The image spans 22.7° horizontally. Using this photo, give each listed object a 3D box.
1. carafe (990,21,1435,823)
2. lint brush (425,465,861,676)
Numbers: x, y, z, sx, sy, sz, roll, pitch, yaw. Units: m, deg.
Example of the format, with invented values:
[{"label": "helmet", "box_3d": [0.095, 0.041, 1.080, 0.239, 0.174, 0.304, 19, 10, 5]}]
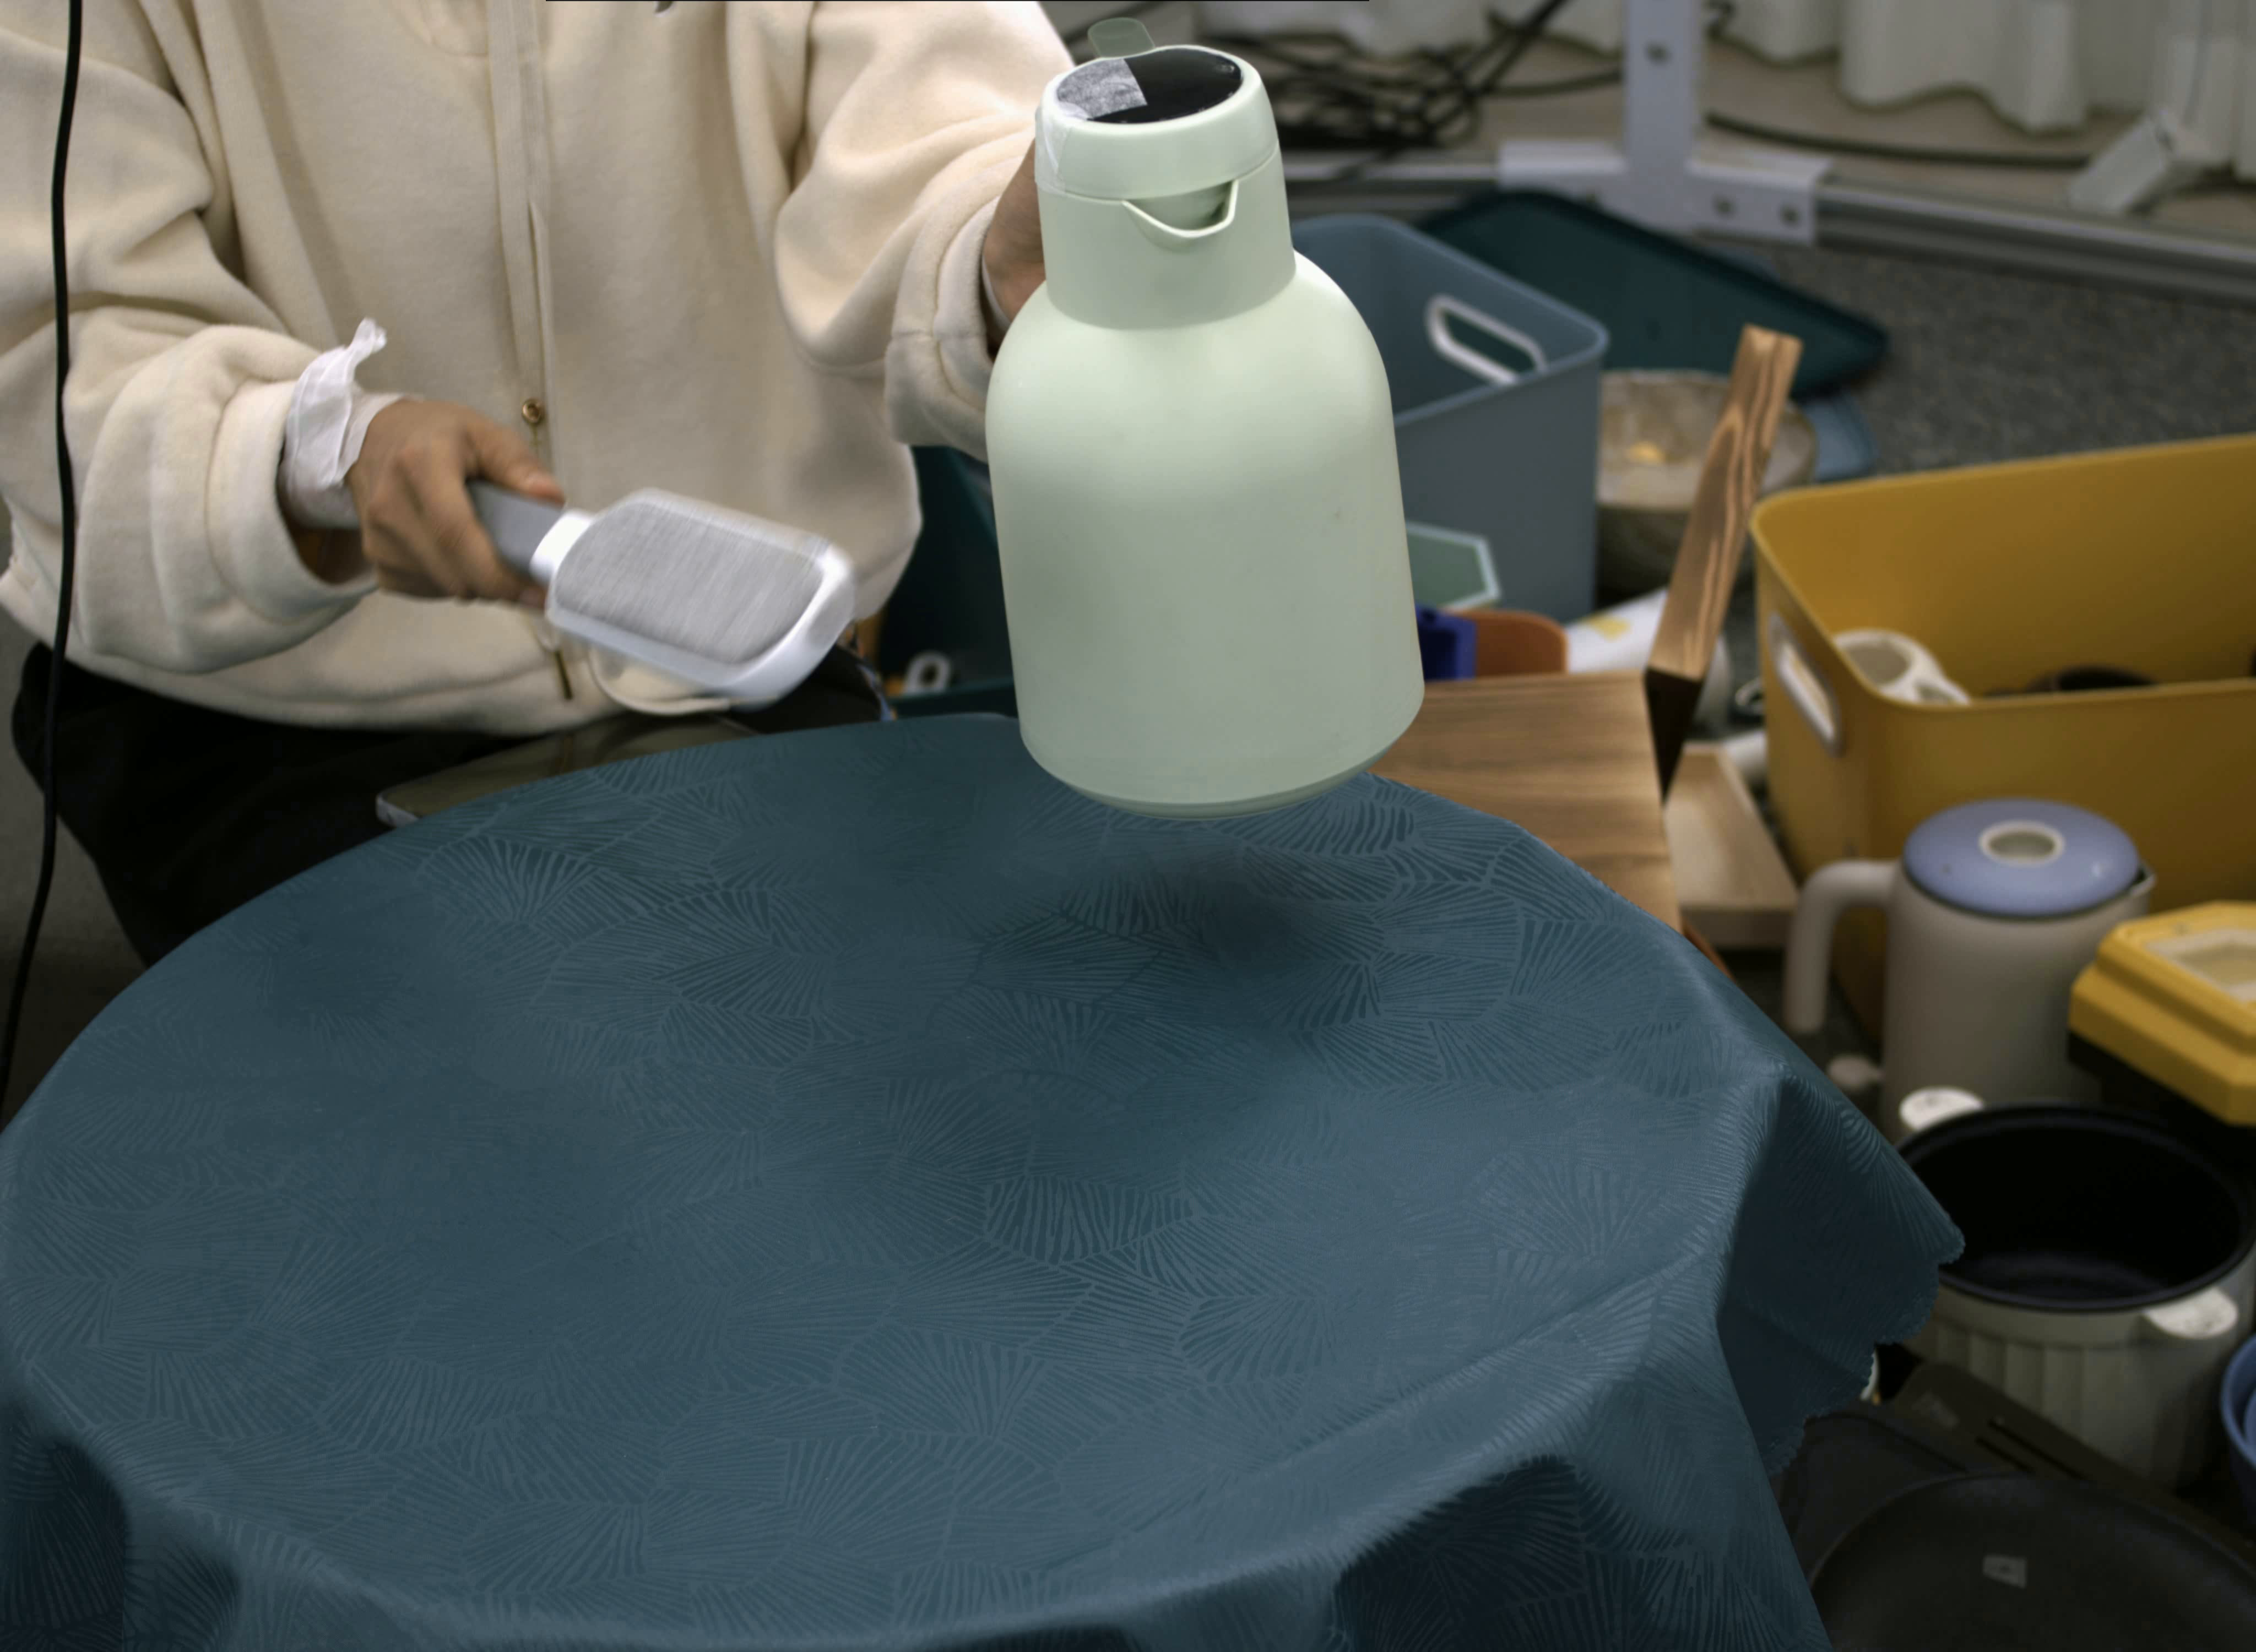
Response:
[{"label": "carafe", "box_3d": [0.019, -0.146, 1.963, 0.144, 0.254, 0.188, -12, 24, -7]}, {"label": "lint brush", "box_3d": [-0.170, -0.095, 1.908, 0.060, 0.021, 0.308, -55, 30, -10]}]
